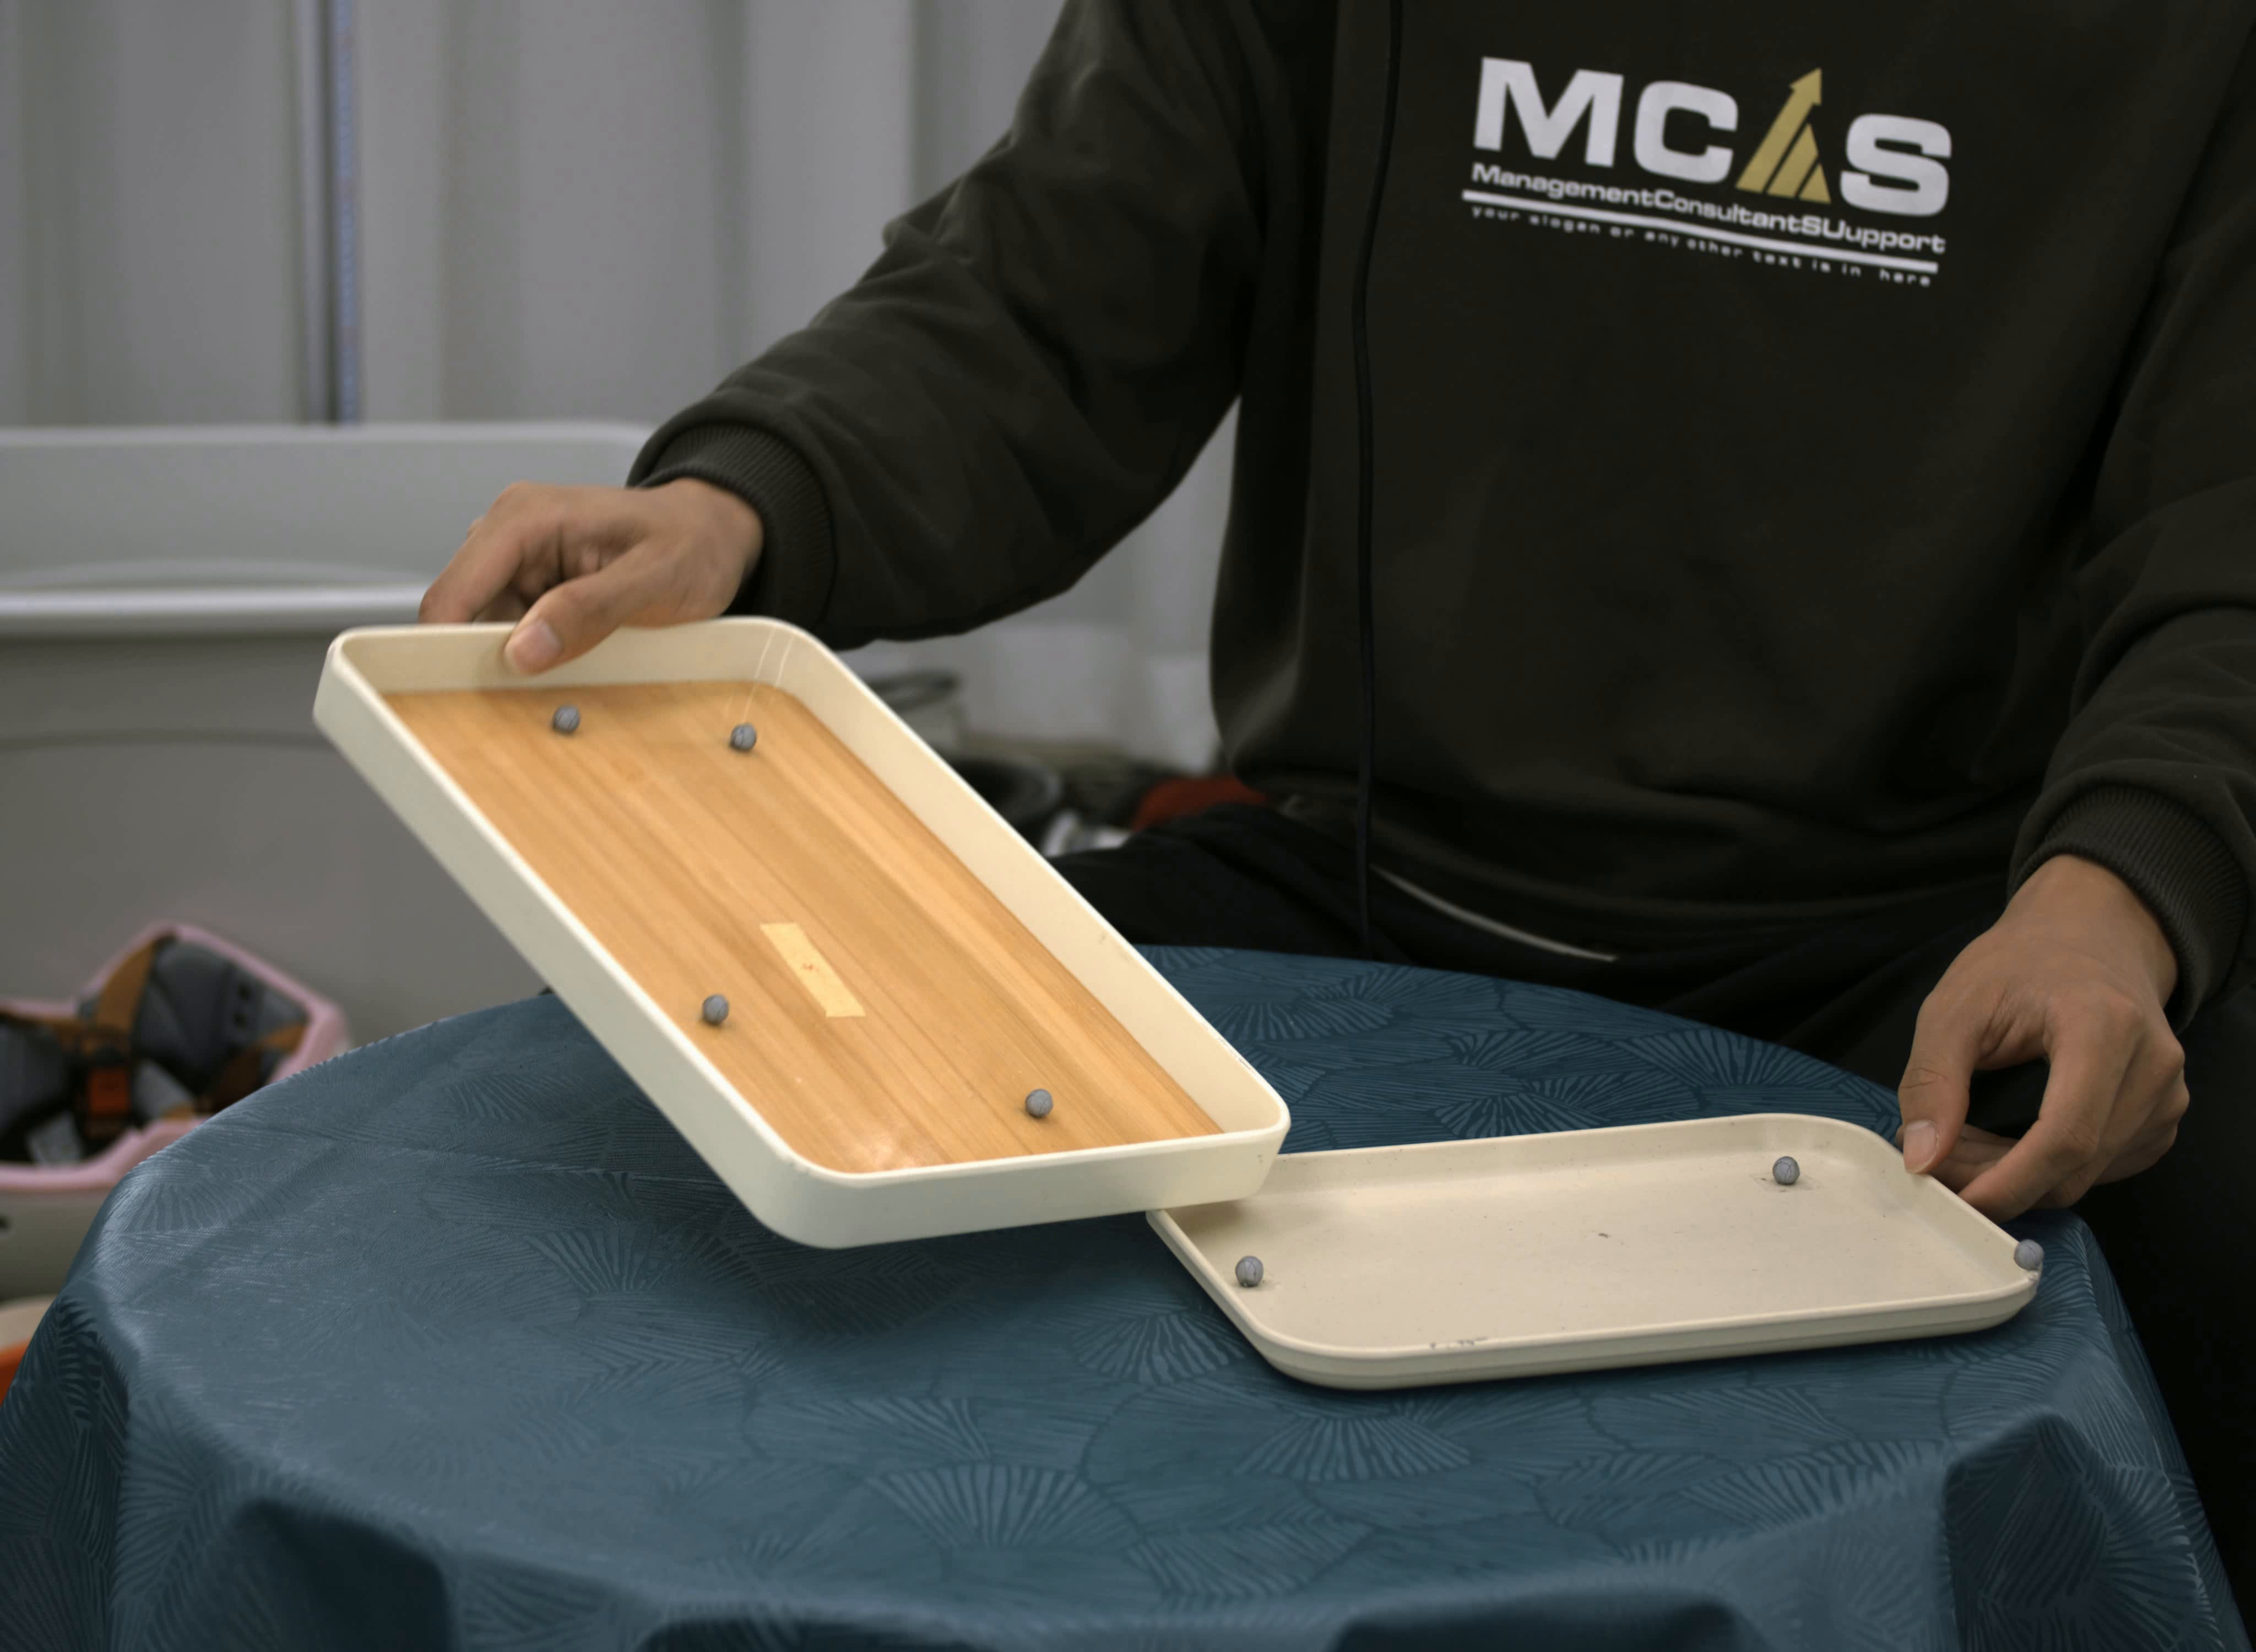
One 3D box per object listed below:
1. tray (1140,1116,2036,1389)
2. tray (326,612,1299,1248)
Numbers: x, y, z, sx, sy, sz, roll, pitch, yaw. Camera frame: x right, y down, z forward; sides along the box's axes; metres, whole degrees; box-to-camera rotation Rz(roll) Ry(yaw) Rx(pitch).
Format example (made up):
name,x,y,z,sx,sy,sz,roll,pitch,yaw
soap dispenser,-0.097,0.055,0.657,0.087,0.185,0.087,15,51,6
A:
name,x,y,z,sx,sy,sz,roll,pitch,yaw
tray,0.134,0.126,1.559,0.240,0.017,0.169,-4,15,-17
tray,-0.100,0.025,1.618,0.193,0.027,0.296,-3,36,-41
